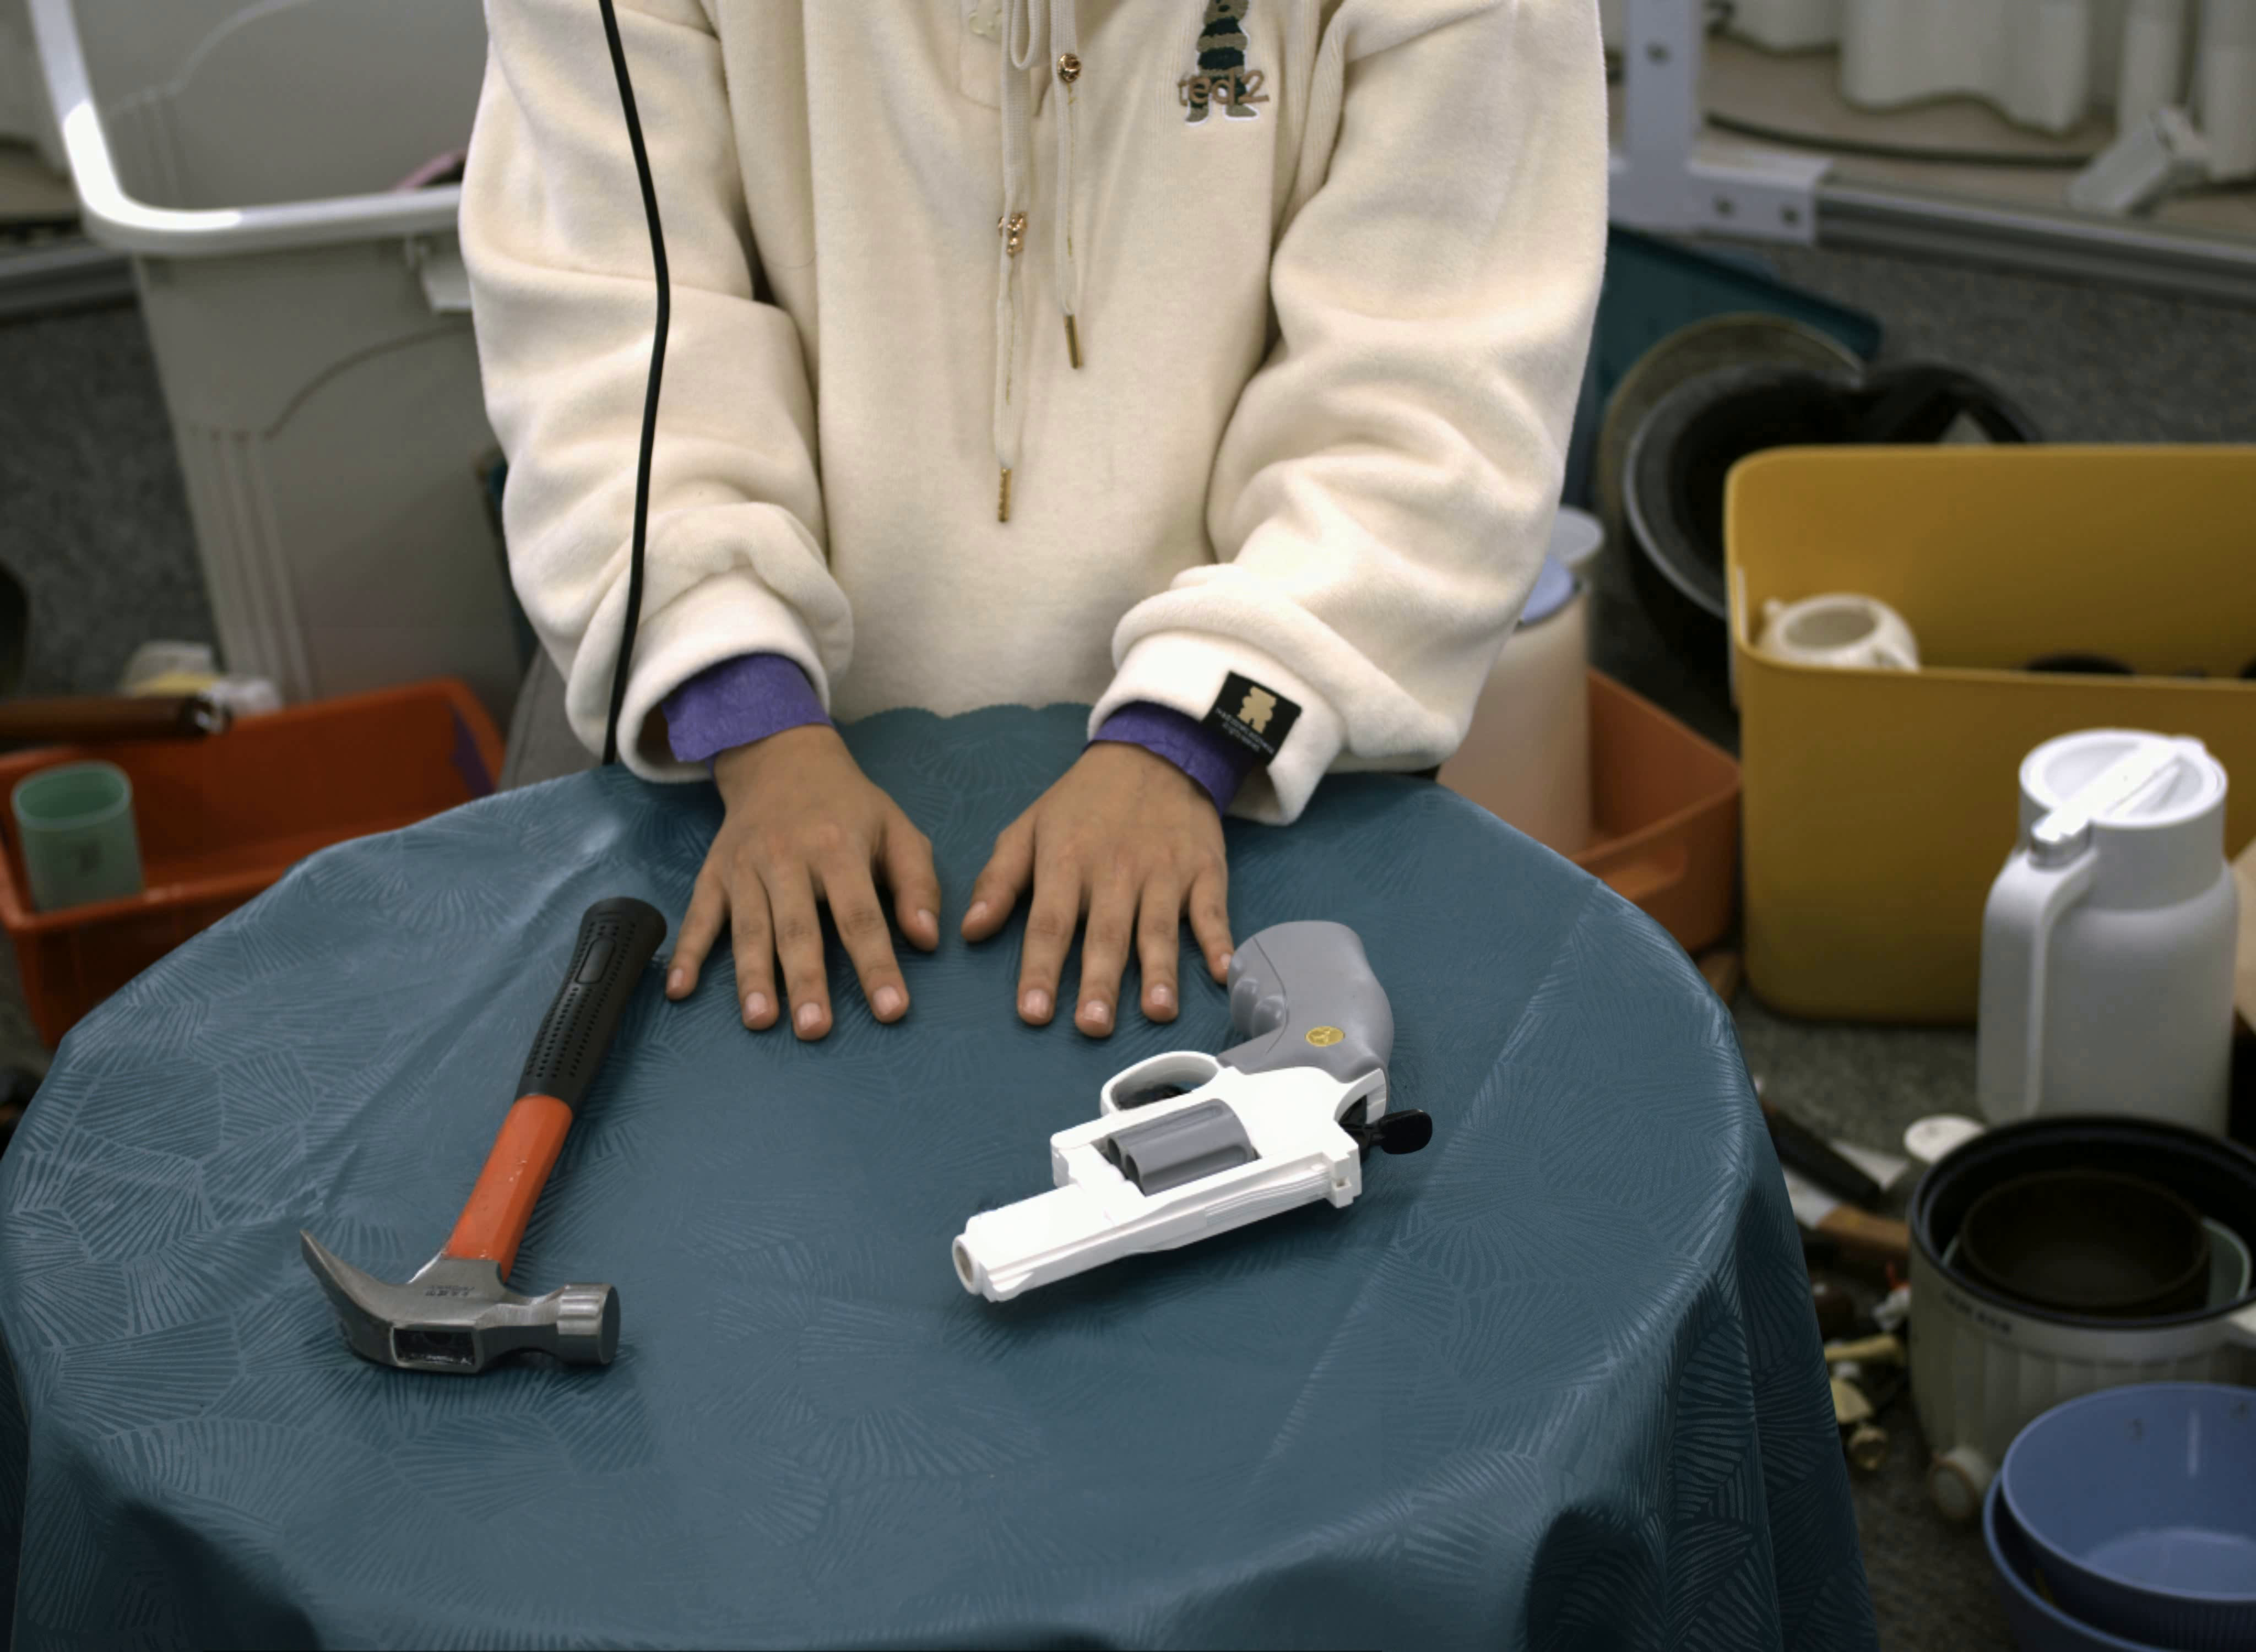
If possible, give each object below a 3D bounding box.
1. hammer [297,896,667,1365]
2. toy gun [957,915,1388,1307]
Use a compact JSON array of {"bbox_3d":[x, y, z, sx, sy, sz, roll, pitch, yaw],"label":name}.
[{"bbox_3d":[-0.201,0.099,1.895,0.110,0.026,0.282,-6,26,12],"label":"hammer"},{"bbox_3d":[0.017,0.095,1.869,0.210,0.038,0.142,-17,32,-25],"label":"toy gun"}]
